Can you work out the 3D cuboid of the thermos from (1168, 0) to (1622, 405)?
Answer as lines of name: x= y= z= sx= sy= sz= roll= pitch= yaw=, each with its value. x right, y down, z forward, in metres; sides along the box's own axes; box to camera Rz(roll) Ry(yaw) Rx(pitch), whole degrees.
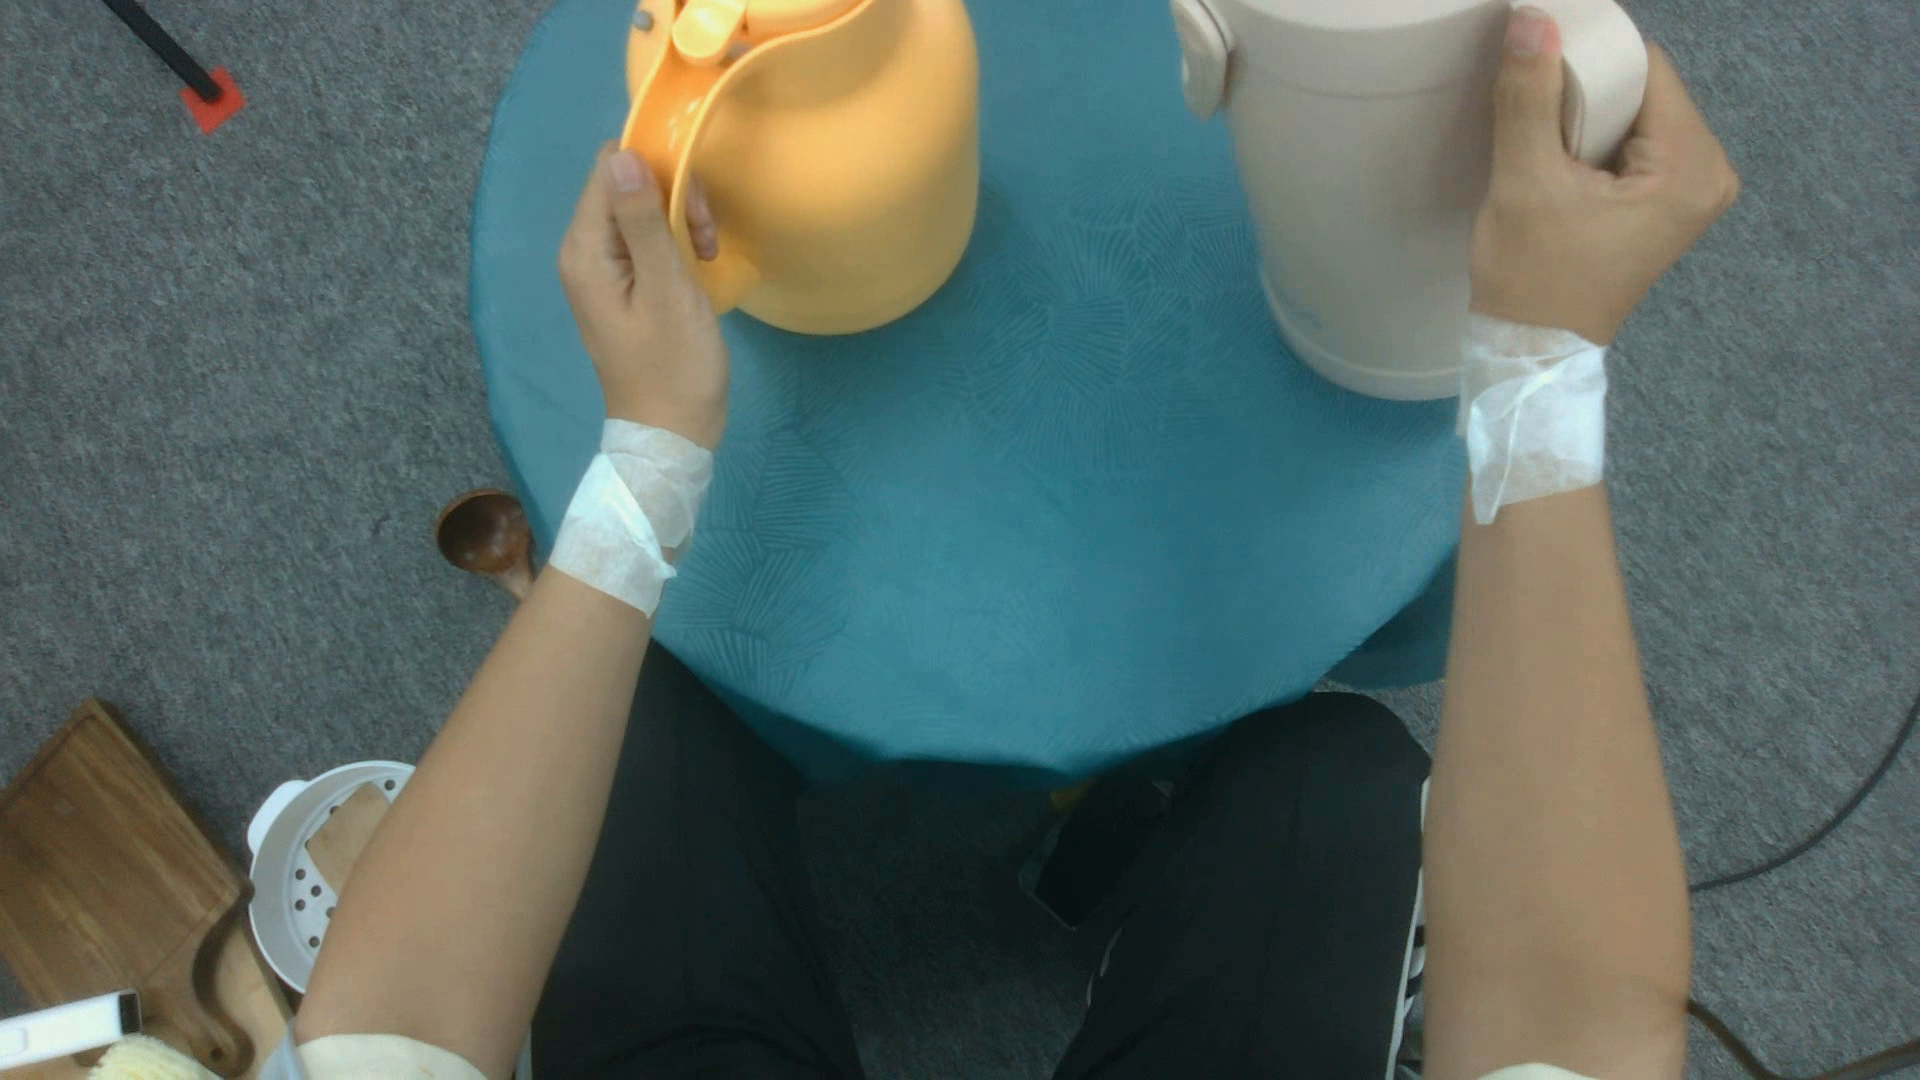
thermos: x=0.190 y=-0.195 z=0.566 sx=0.175 sy=0.406 sz=0.207 roll=-34 pitch=62 yaw=7

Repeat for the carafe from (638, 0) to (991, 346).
carafe: x=-0.076 y=-0.193 z=0.660 sx=0.163 sy=0.260 sz=0.203 roll=28 pitch=77 yaw=9
